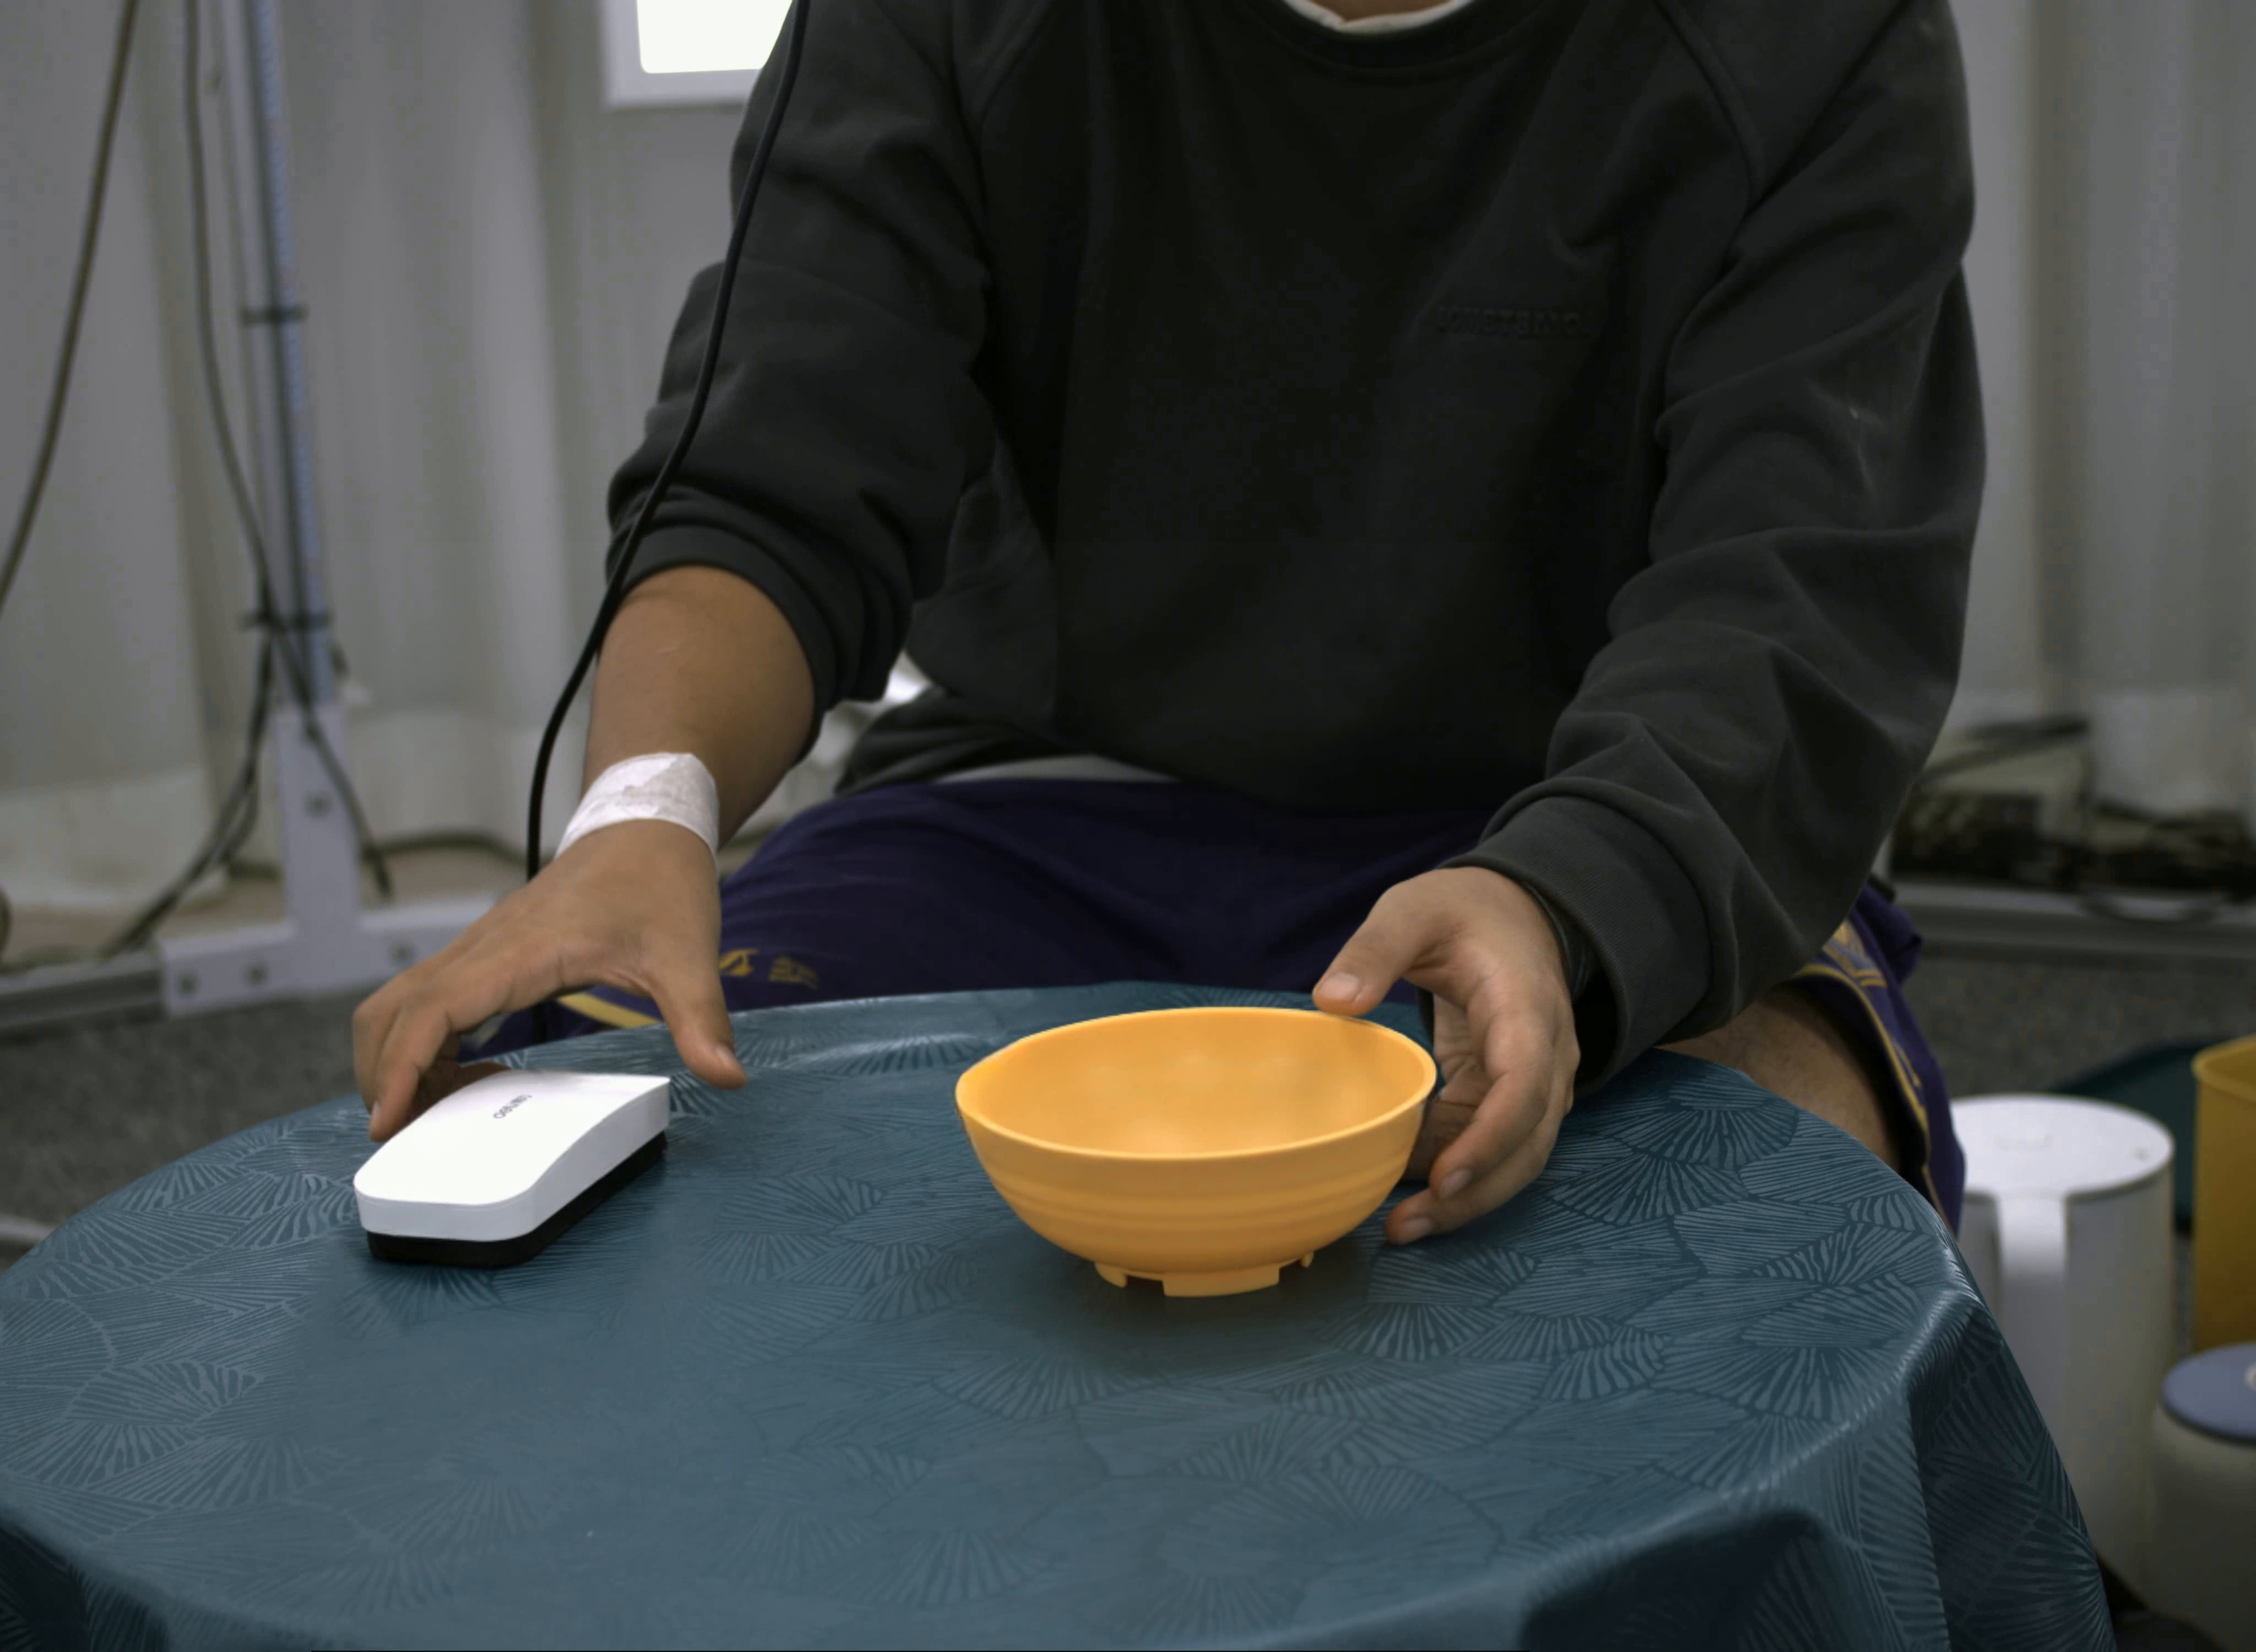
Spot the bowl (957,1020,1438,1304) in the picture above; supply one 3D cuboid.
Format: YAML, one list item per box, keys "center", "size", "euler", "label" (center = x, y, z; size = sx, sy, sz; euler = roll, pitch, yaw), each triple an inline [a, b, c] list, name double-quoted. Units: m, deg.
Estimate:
- center: [0.021, 0.106, 1.643]
  size: [0.145, 0.060, 0.146]
  euler: [-1, 13, 0]
  label: "bowl"

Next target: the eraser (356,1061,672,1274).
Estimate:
- center: [-0.191, 0.104, 1.732]
  size: [0.063, 0.034, 0.132]
  euler: [3, 17, 19]
  label: "eraser"
